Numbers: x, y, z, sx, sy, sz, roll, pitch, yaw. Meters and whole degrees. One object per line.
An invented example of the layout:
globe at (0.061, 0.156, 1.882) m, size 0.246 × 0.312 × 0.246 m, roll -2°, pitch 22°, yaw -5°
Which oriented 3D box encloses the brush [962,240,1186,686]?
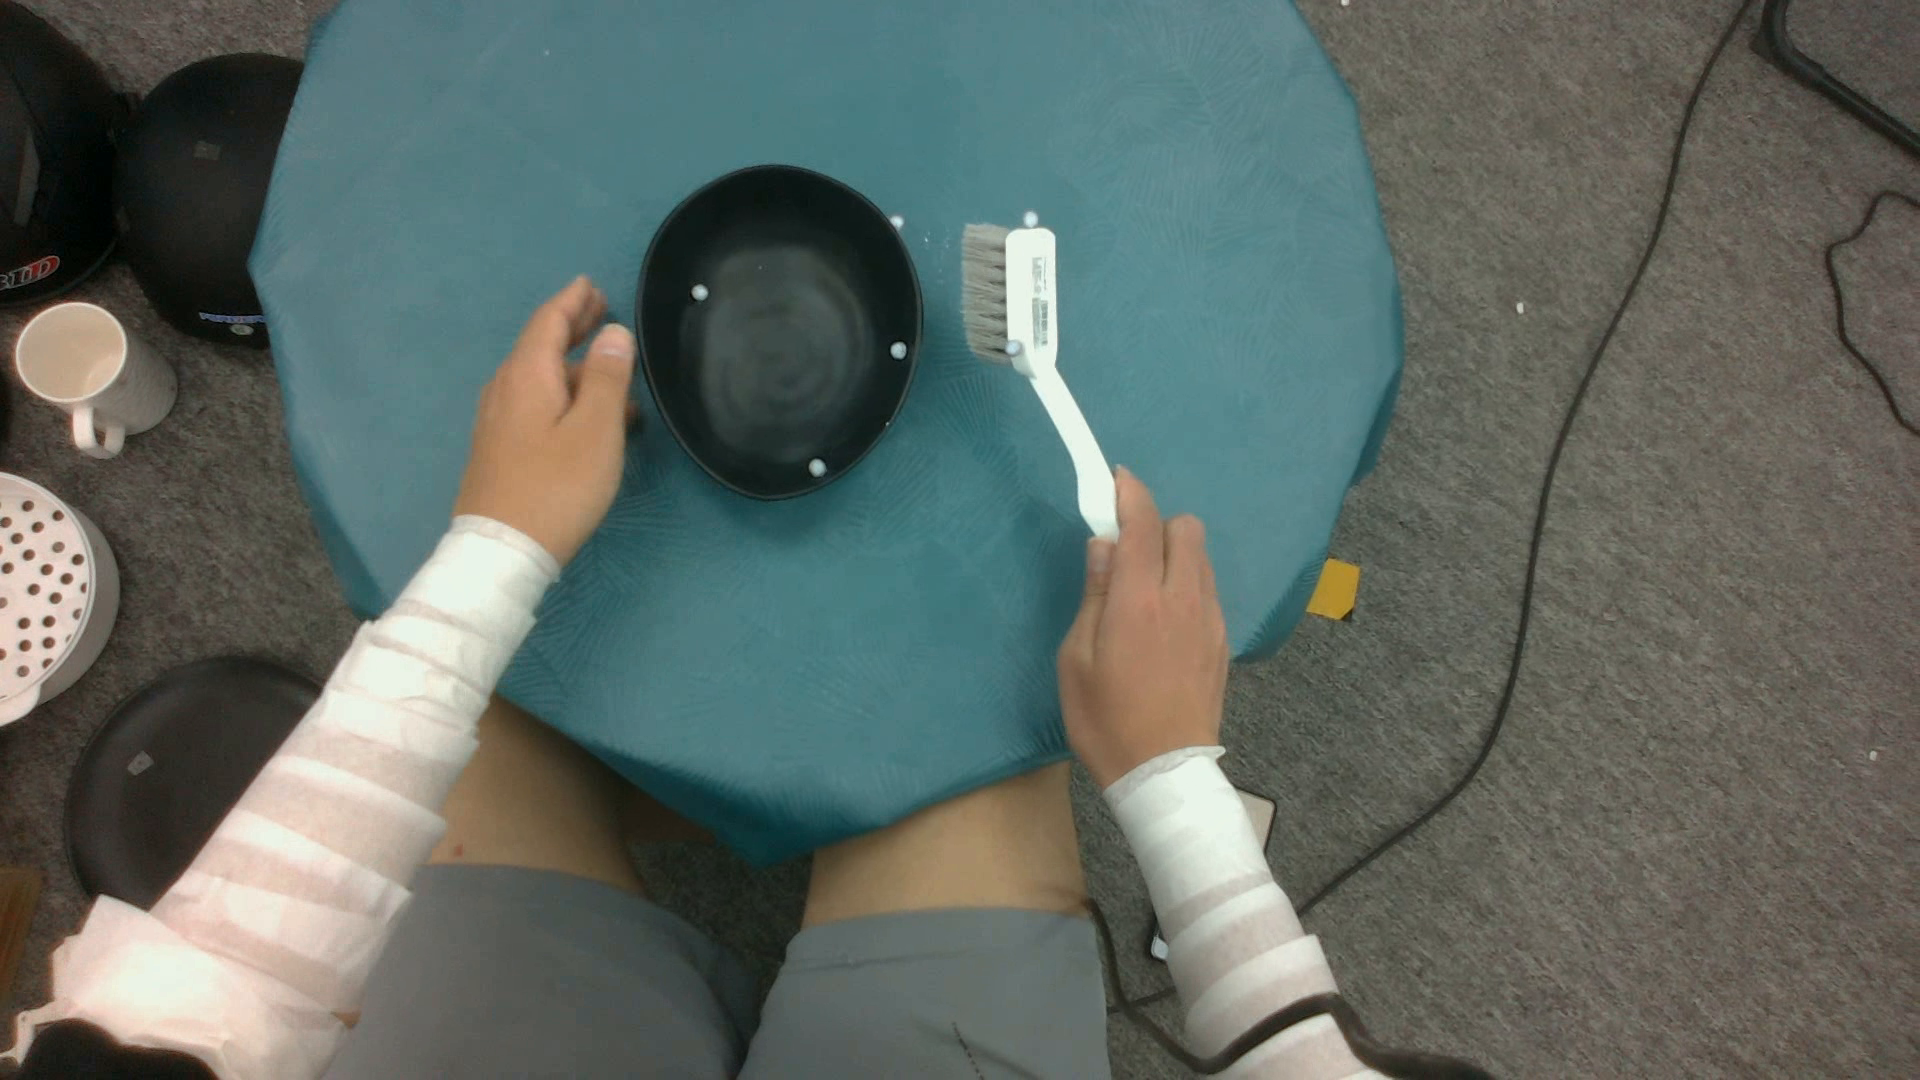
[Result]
brush at (0.054, -0.036, 0.693) m, size 0.050 × 0.034 × 0.243 m, roll -16°, pitch 99°, yaw 30°

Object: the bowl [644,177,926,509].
bowl at (-0.088, -0.095, 0.703) m, size 0.137 × 0.066 × 0.170 m, roll 1°, pitch 79°, yaw -7°
